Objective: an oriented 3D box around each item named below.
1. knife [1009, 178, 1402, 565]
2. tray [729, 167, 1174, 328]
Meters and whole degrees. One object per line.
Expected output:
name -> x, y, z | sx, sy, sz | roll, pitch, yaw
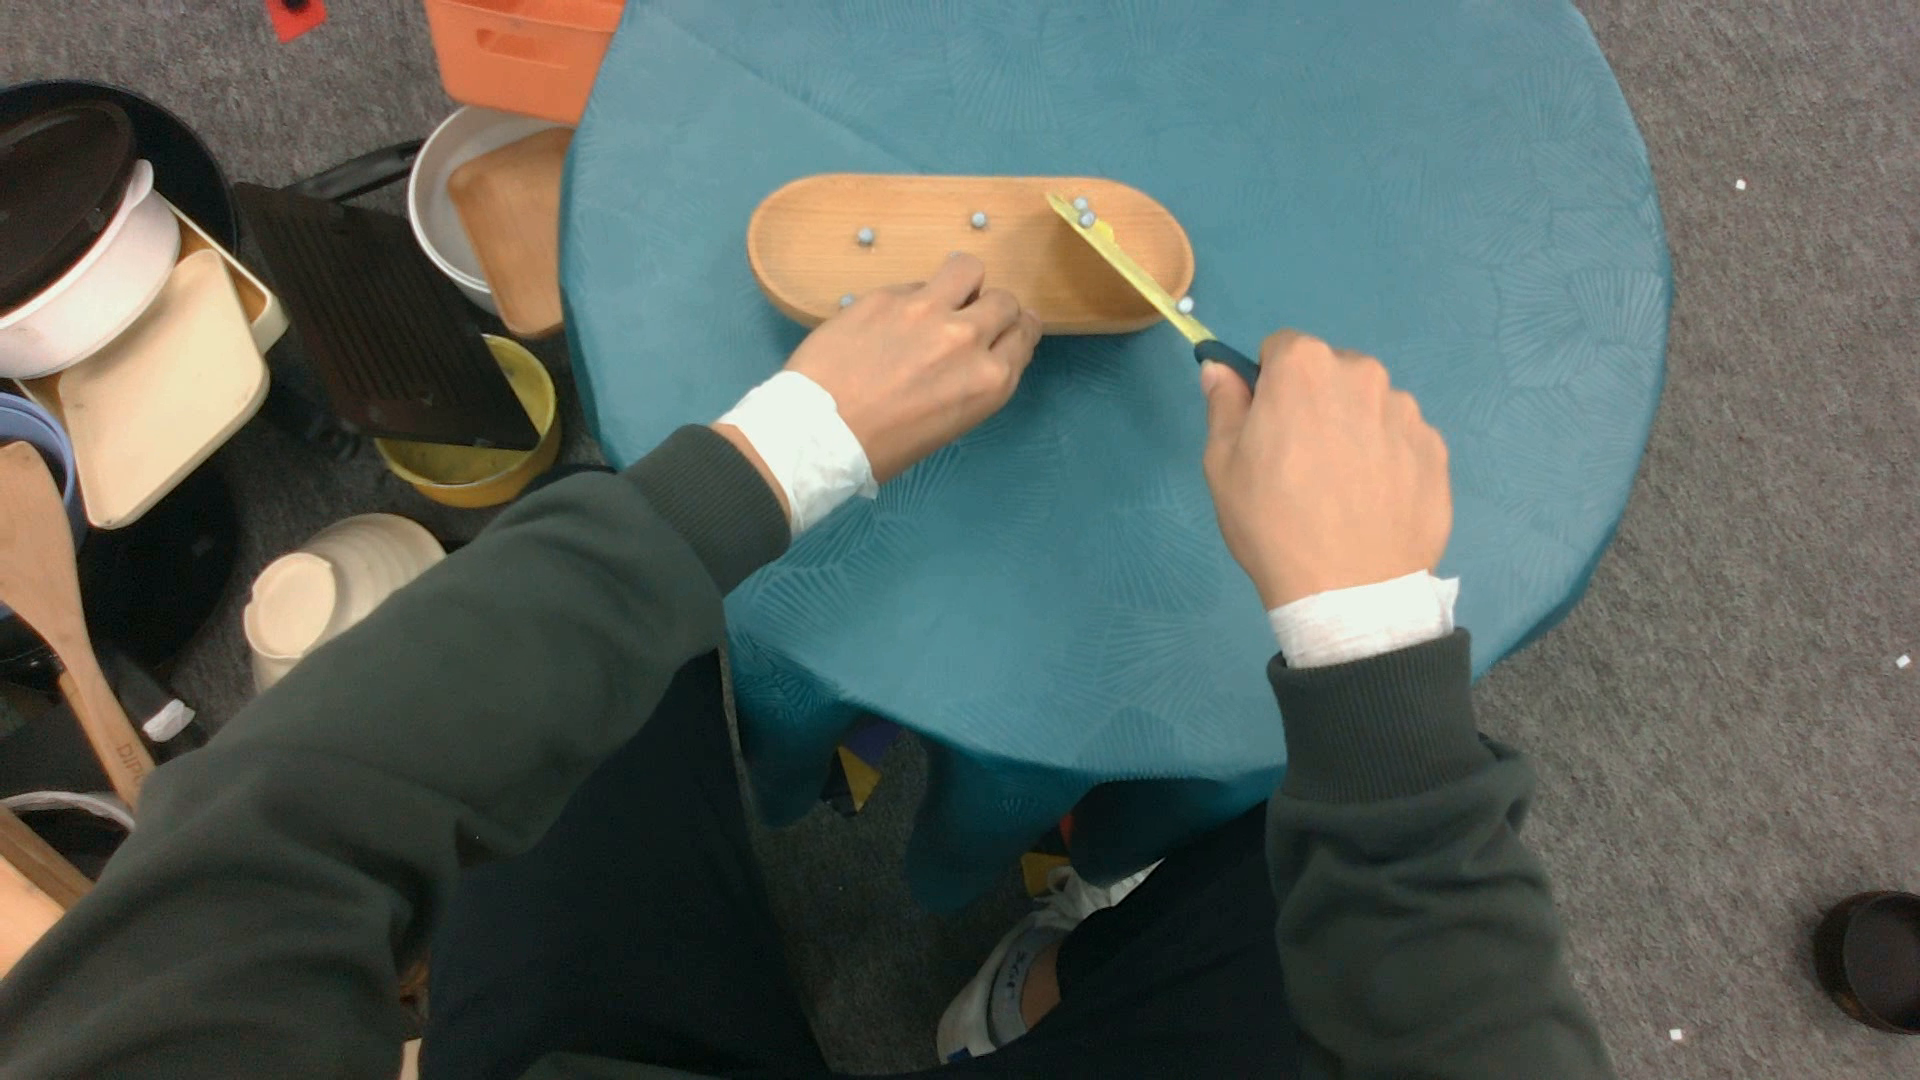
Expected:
knife -> 0.105, -0.089, 0.635 | 0.027, 0.081, 0.290 | -50, 54, 20
tray -> -0.002, -0.151, 0.705 | 0.231, 0.020, 0.102 | -3, 59, -15
